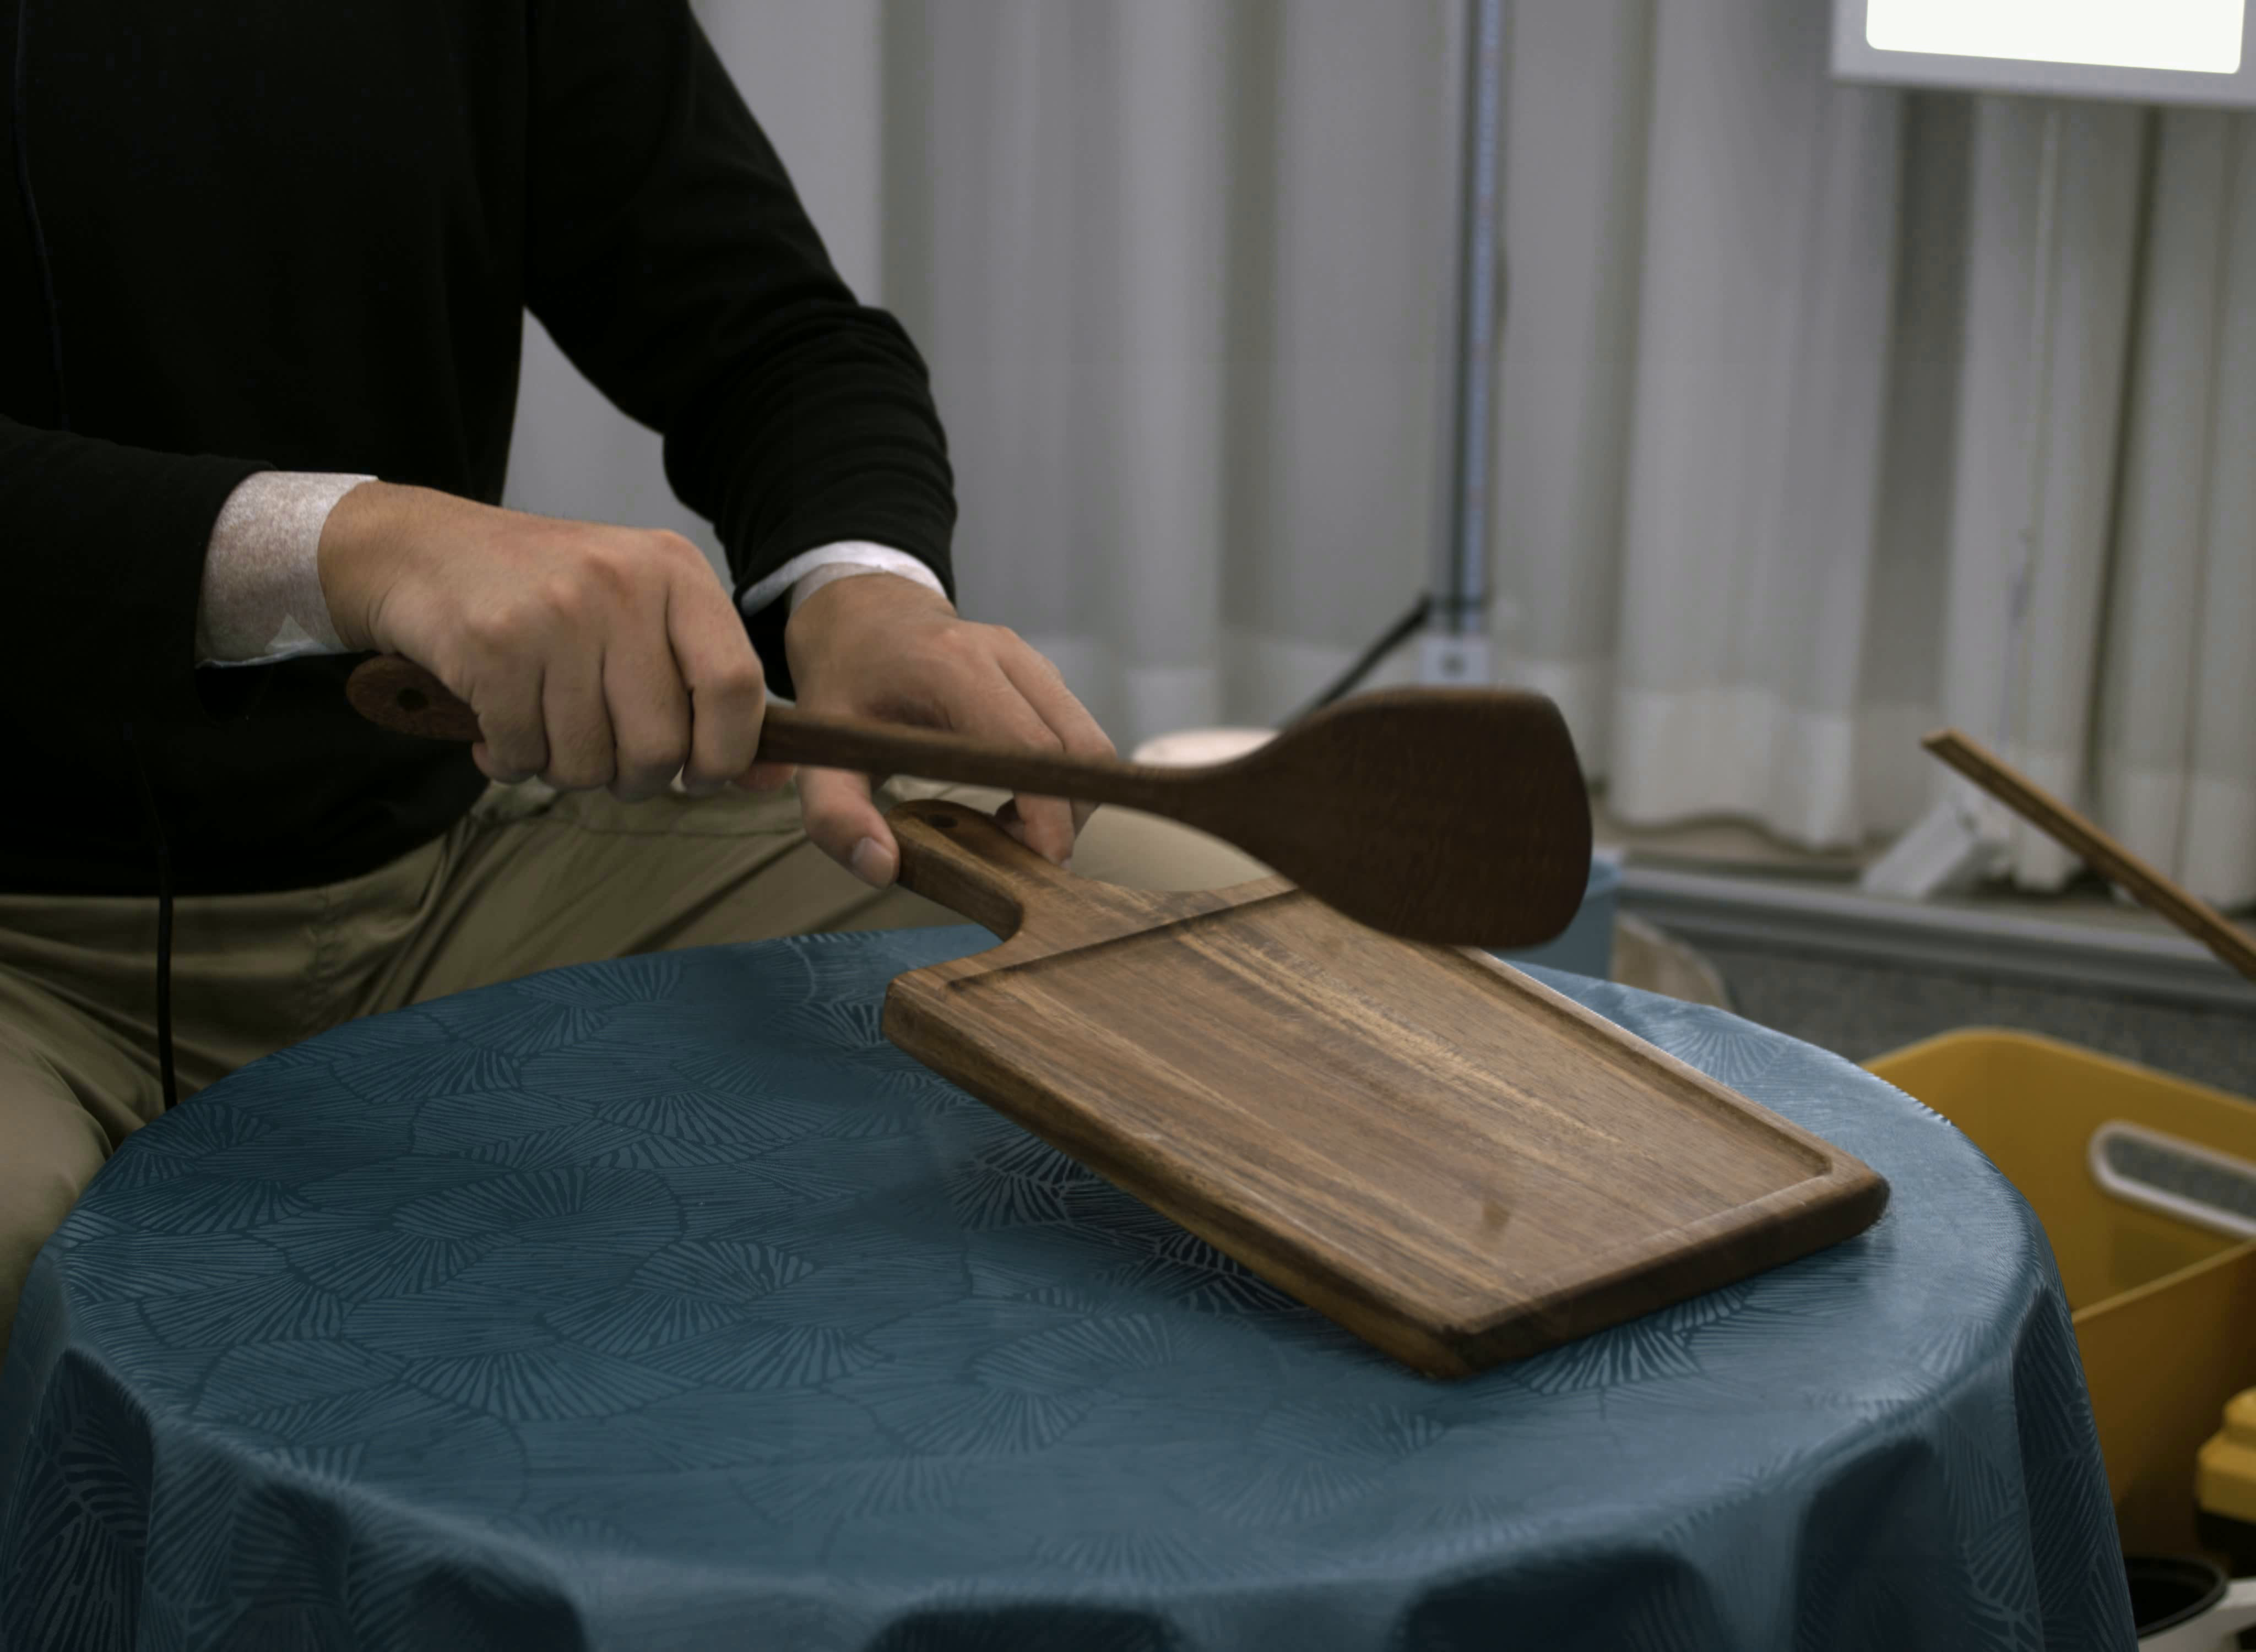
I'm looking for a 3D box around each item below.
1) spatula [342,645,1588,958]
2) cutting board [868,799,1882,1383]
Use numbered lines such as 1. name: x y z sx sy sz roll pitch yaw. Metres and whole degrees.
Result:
1. spatula: -0.053 -0.020 1.540 0.382 0.097 0.016 8 40 16
2. cutting board: 0.042 0.065 1.632 0.202 0.023 0.347 -14 33 -43
